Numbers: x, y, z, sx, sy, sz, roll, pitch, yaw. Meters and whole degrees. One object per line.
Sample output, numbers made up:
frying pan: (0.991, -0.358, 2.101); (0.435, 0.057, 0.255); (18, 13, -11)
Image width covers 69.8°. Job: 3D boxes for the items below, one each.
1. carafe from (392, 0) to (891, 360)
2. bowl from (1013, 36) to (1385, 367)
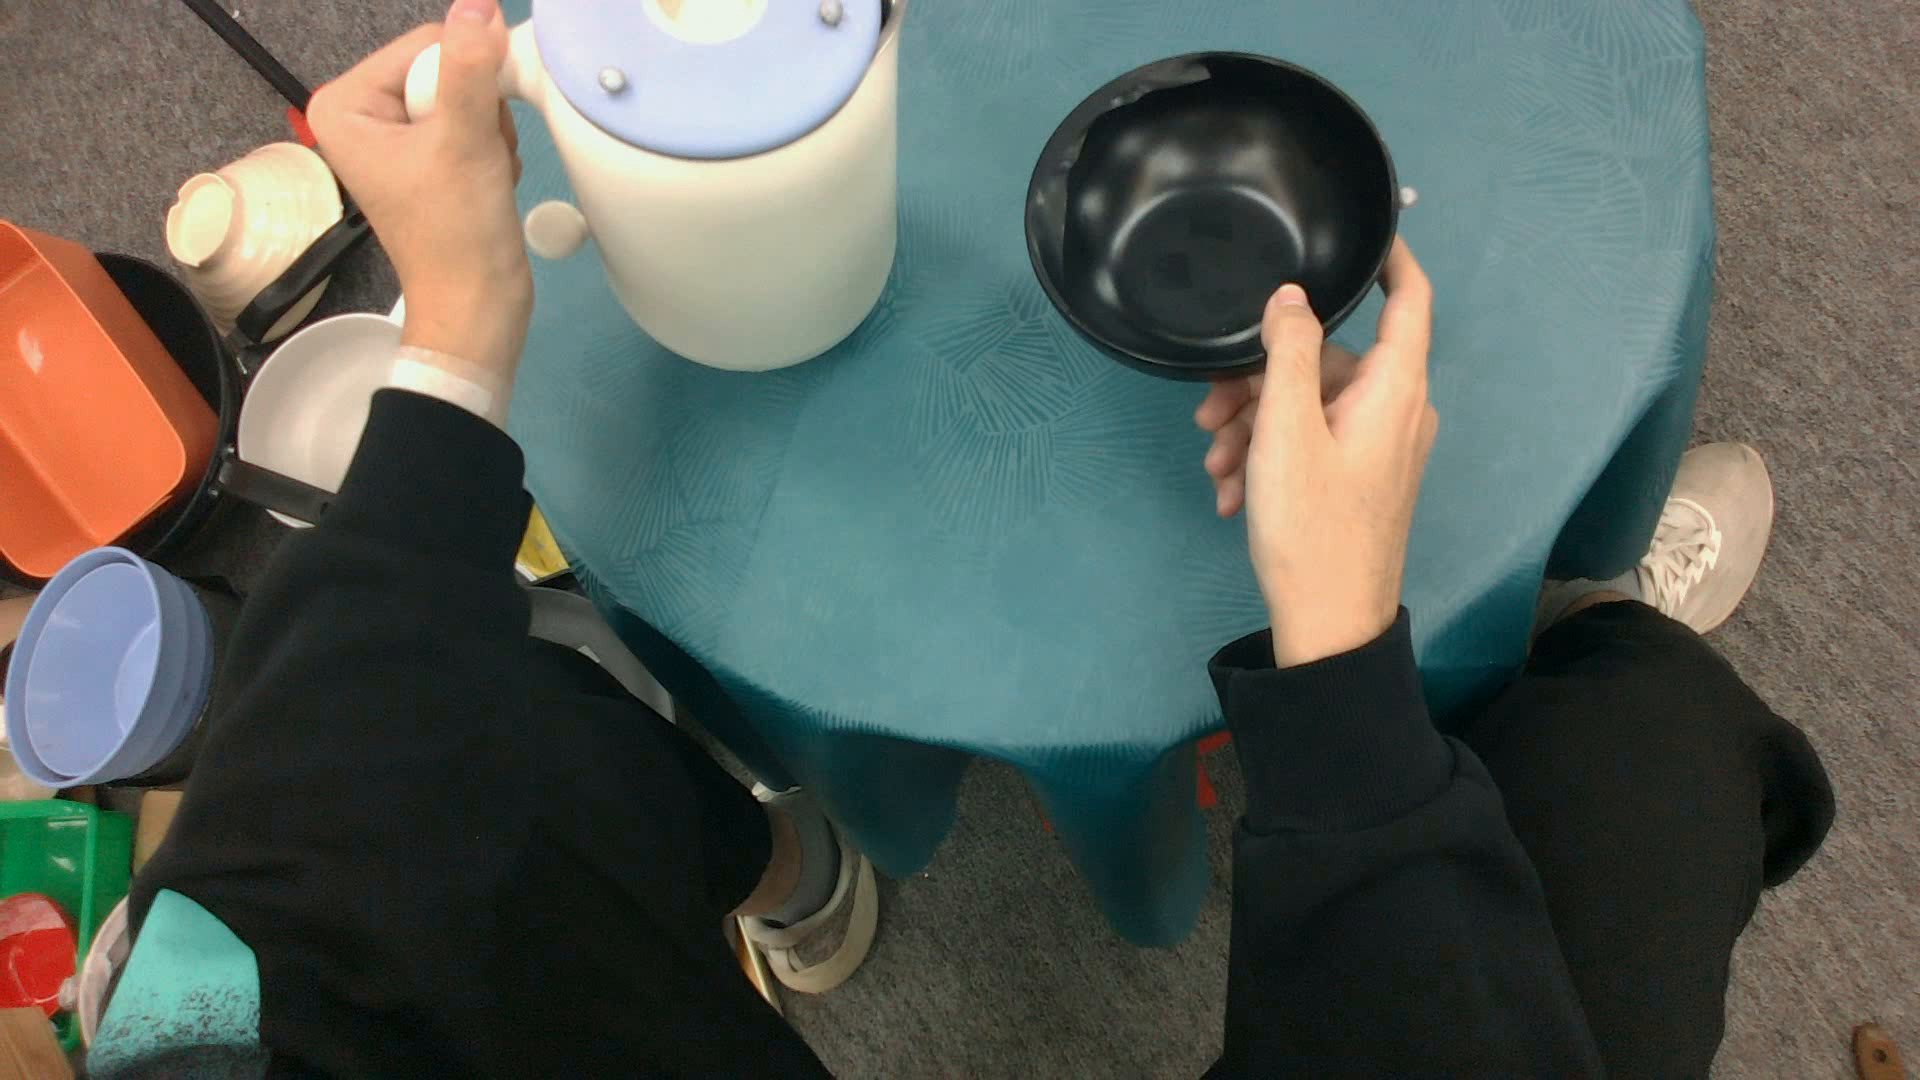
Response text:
carafe: (-0.119, -0.161, 0.544); (0.191, 0.182, 0.132); (-7, 73, -4)
bowl: (0.092, -0.125, 0.542); (0.140, 0.049, 0.140); (-3, 71, 9)
